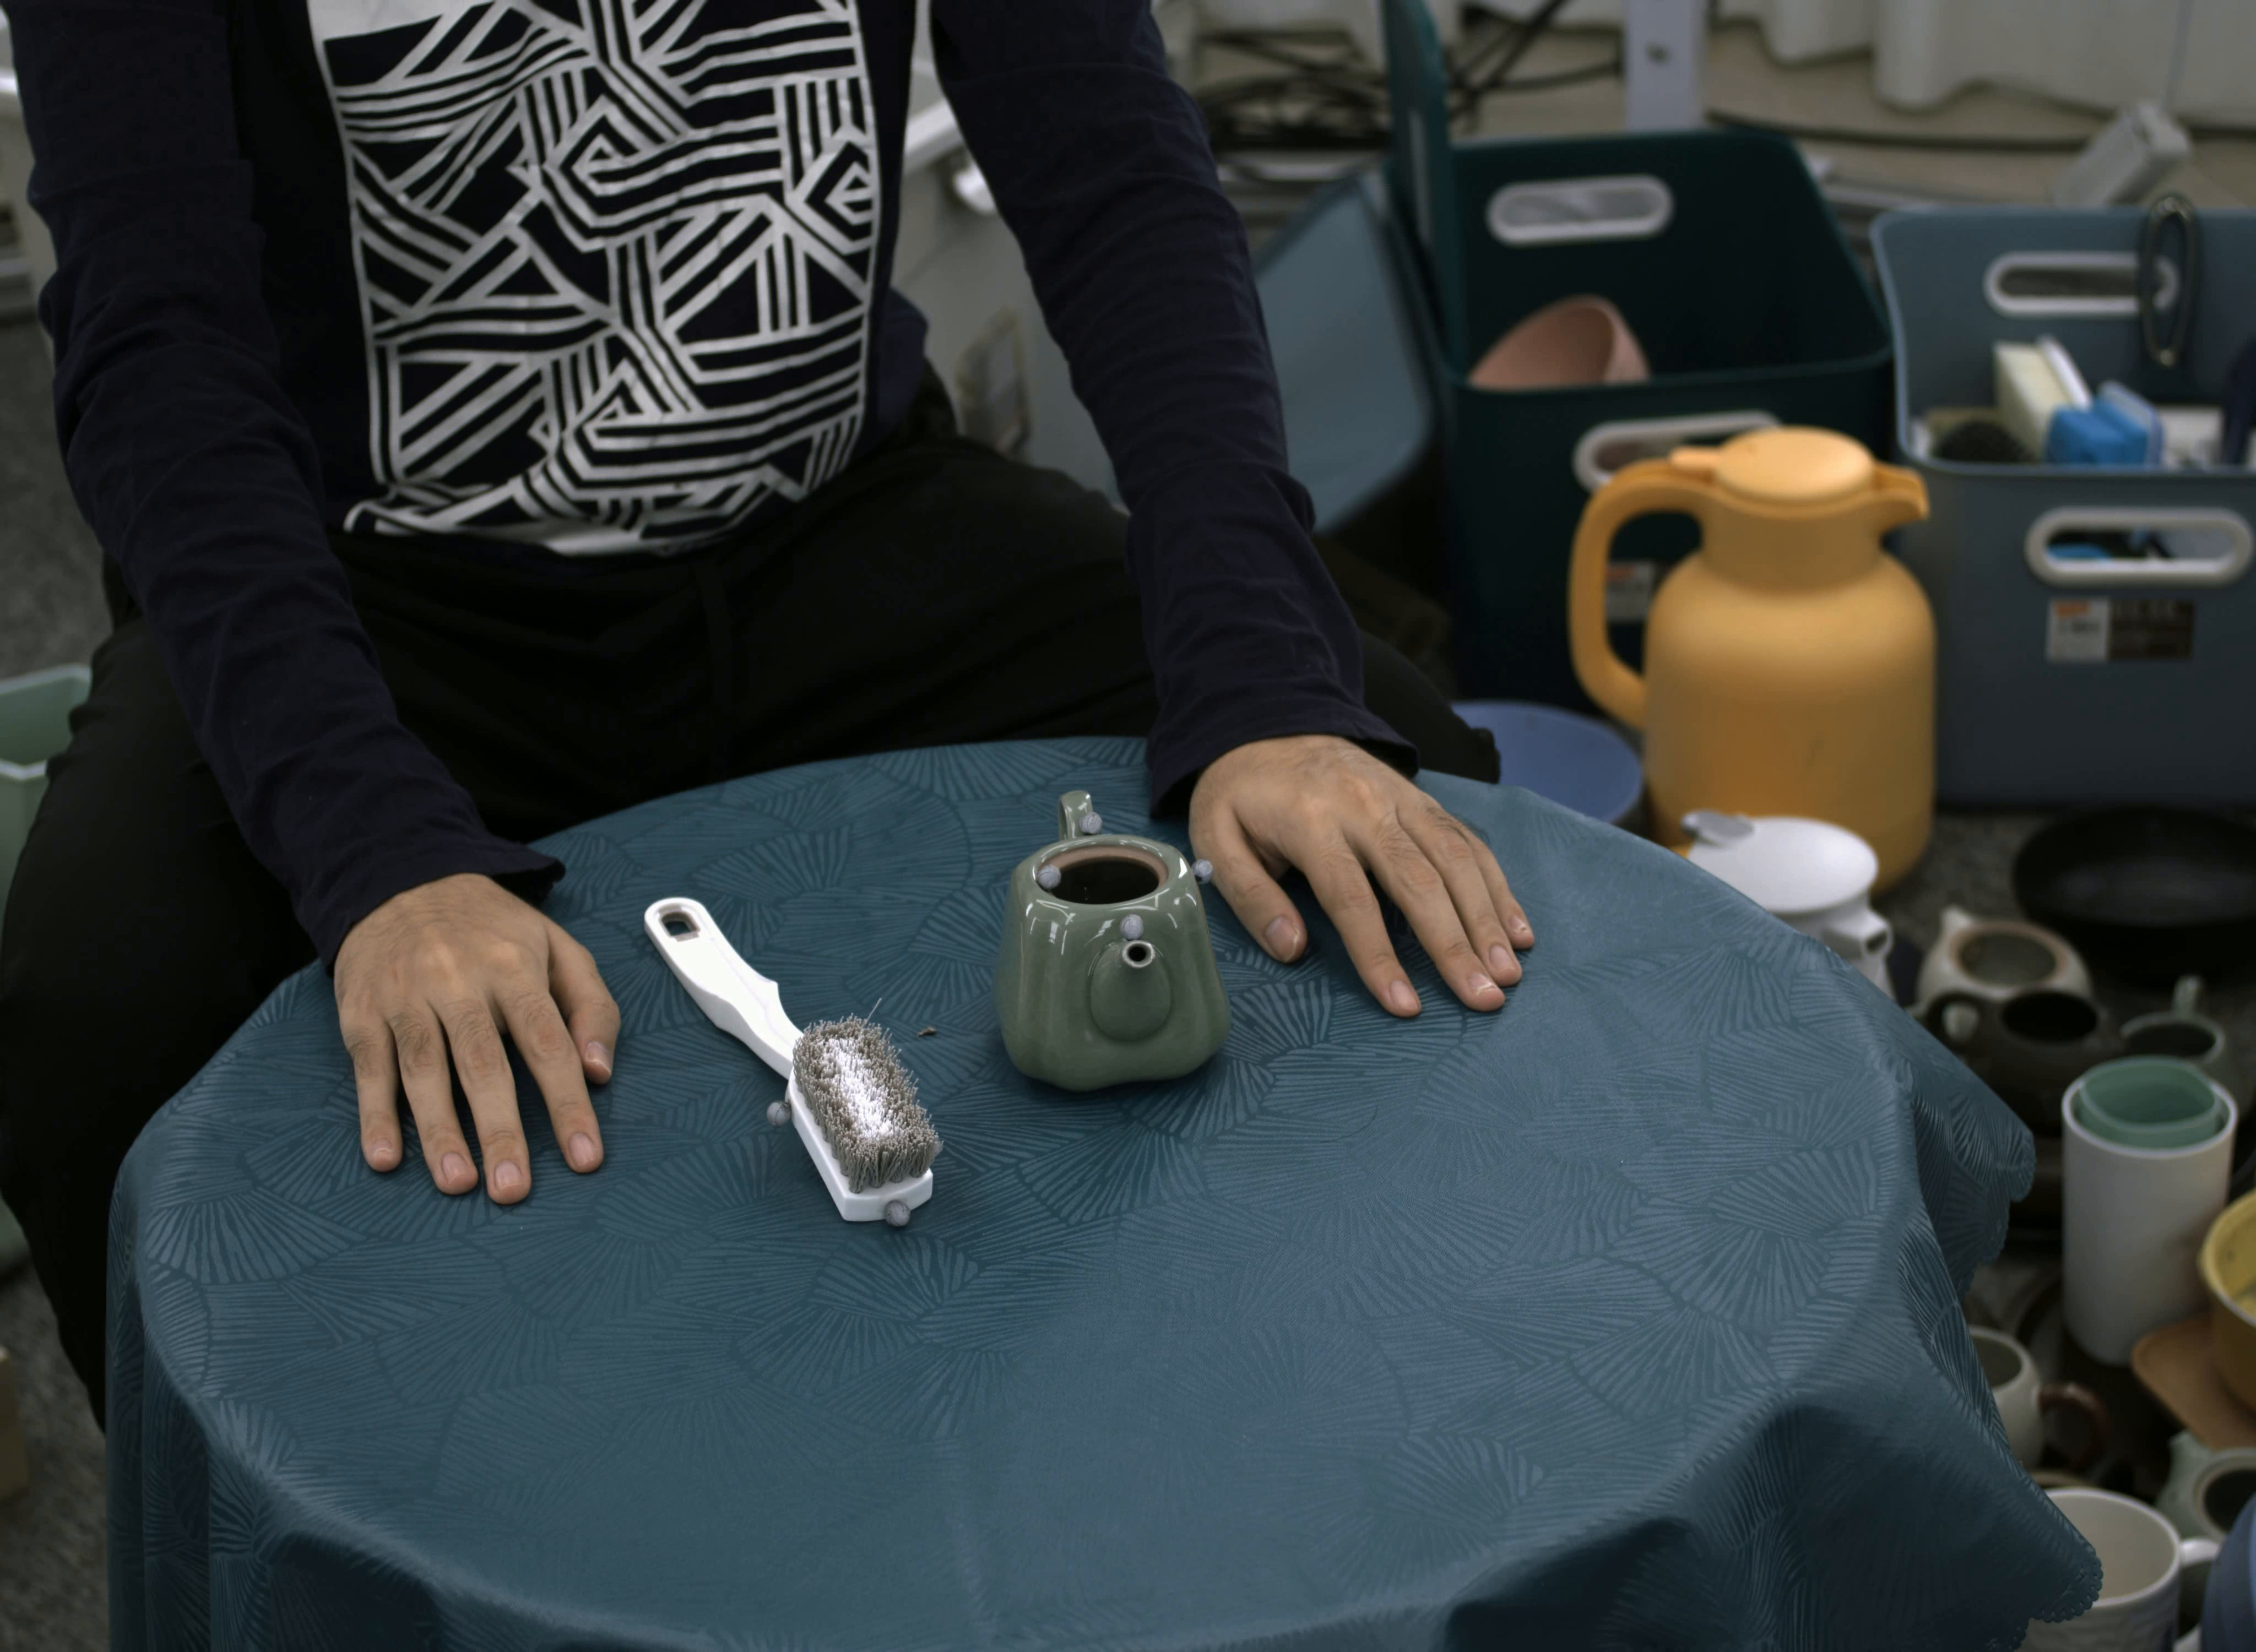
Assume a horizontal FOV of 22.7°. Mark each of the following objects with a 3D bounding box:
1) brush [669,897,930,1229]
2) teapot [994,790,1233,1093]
[{"bbox_3d":[-0.119,0.064,1.932,0.034,0.049,0.246,-15,30,-14],"label":"brush"},{"bbox_3d":[-0.006,0.044,1.931,0.079,0.074,0.134,-7,27,-10],"label":"teapot"}]
